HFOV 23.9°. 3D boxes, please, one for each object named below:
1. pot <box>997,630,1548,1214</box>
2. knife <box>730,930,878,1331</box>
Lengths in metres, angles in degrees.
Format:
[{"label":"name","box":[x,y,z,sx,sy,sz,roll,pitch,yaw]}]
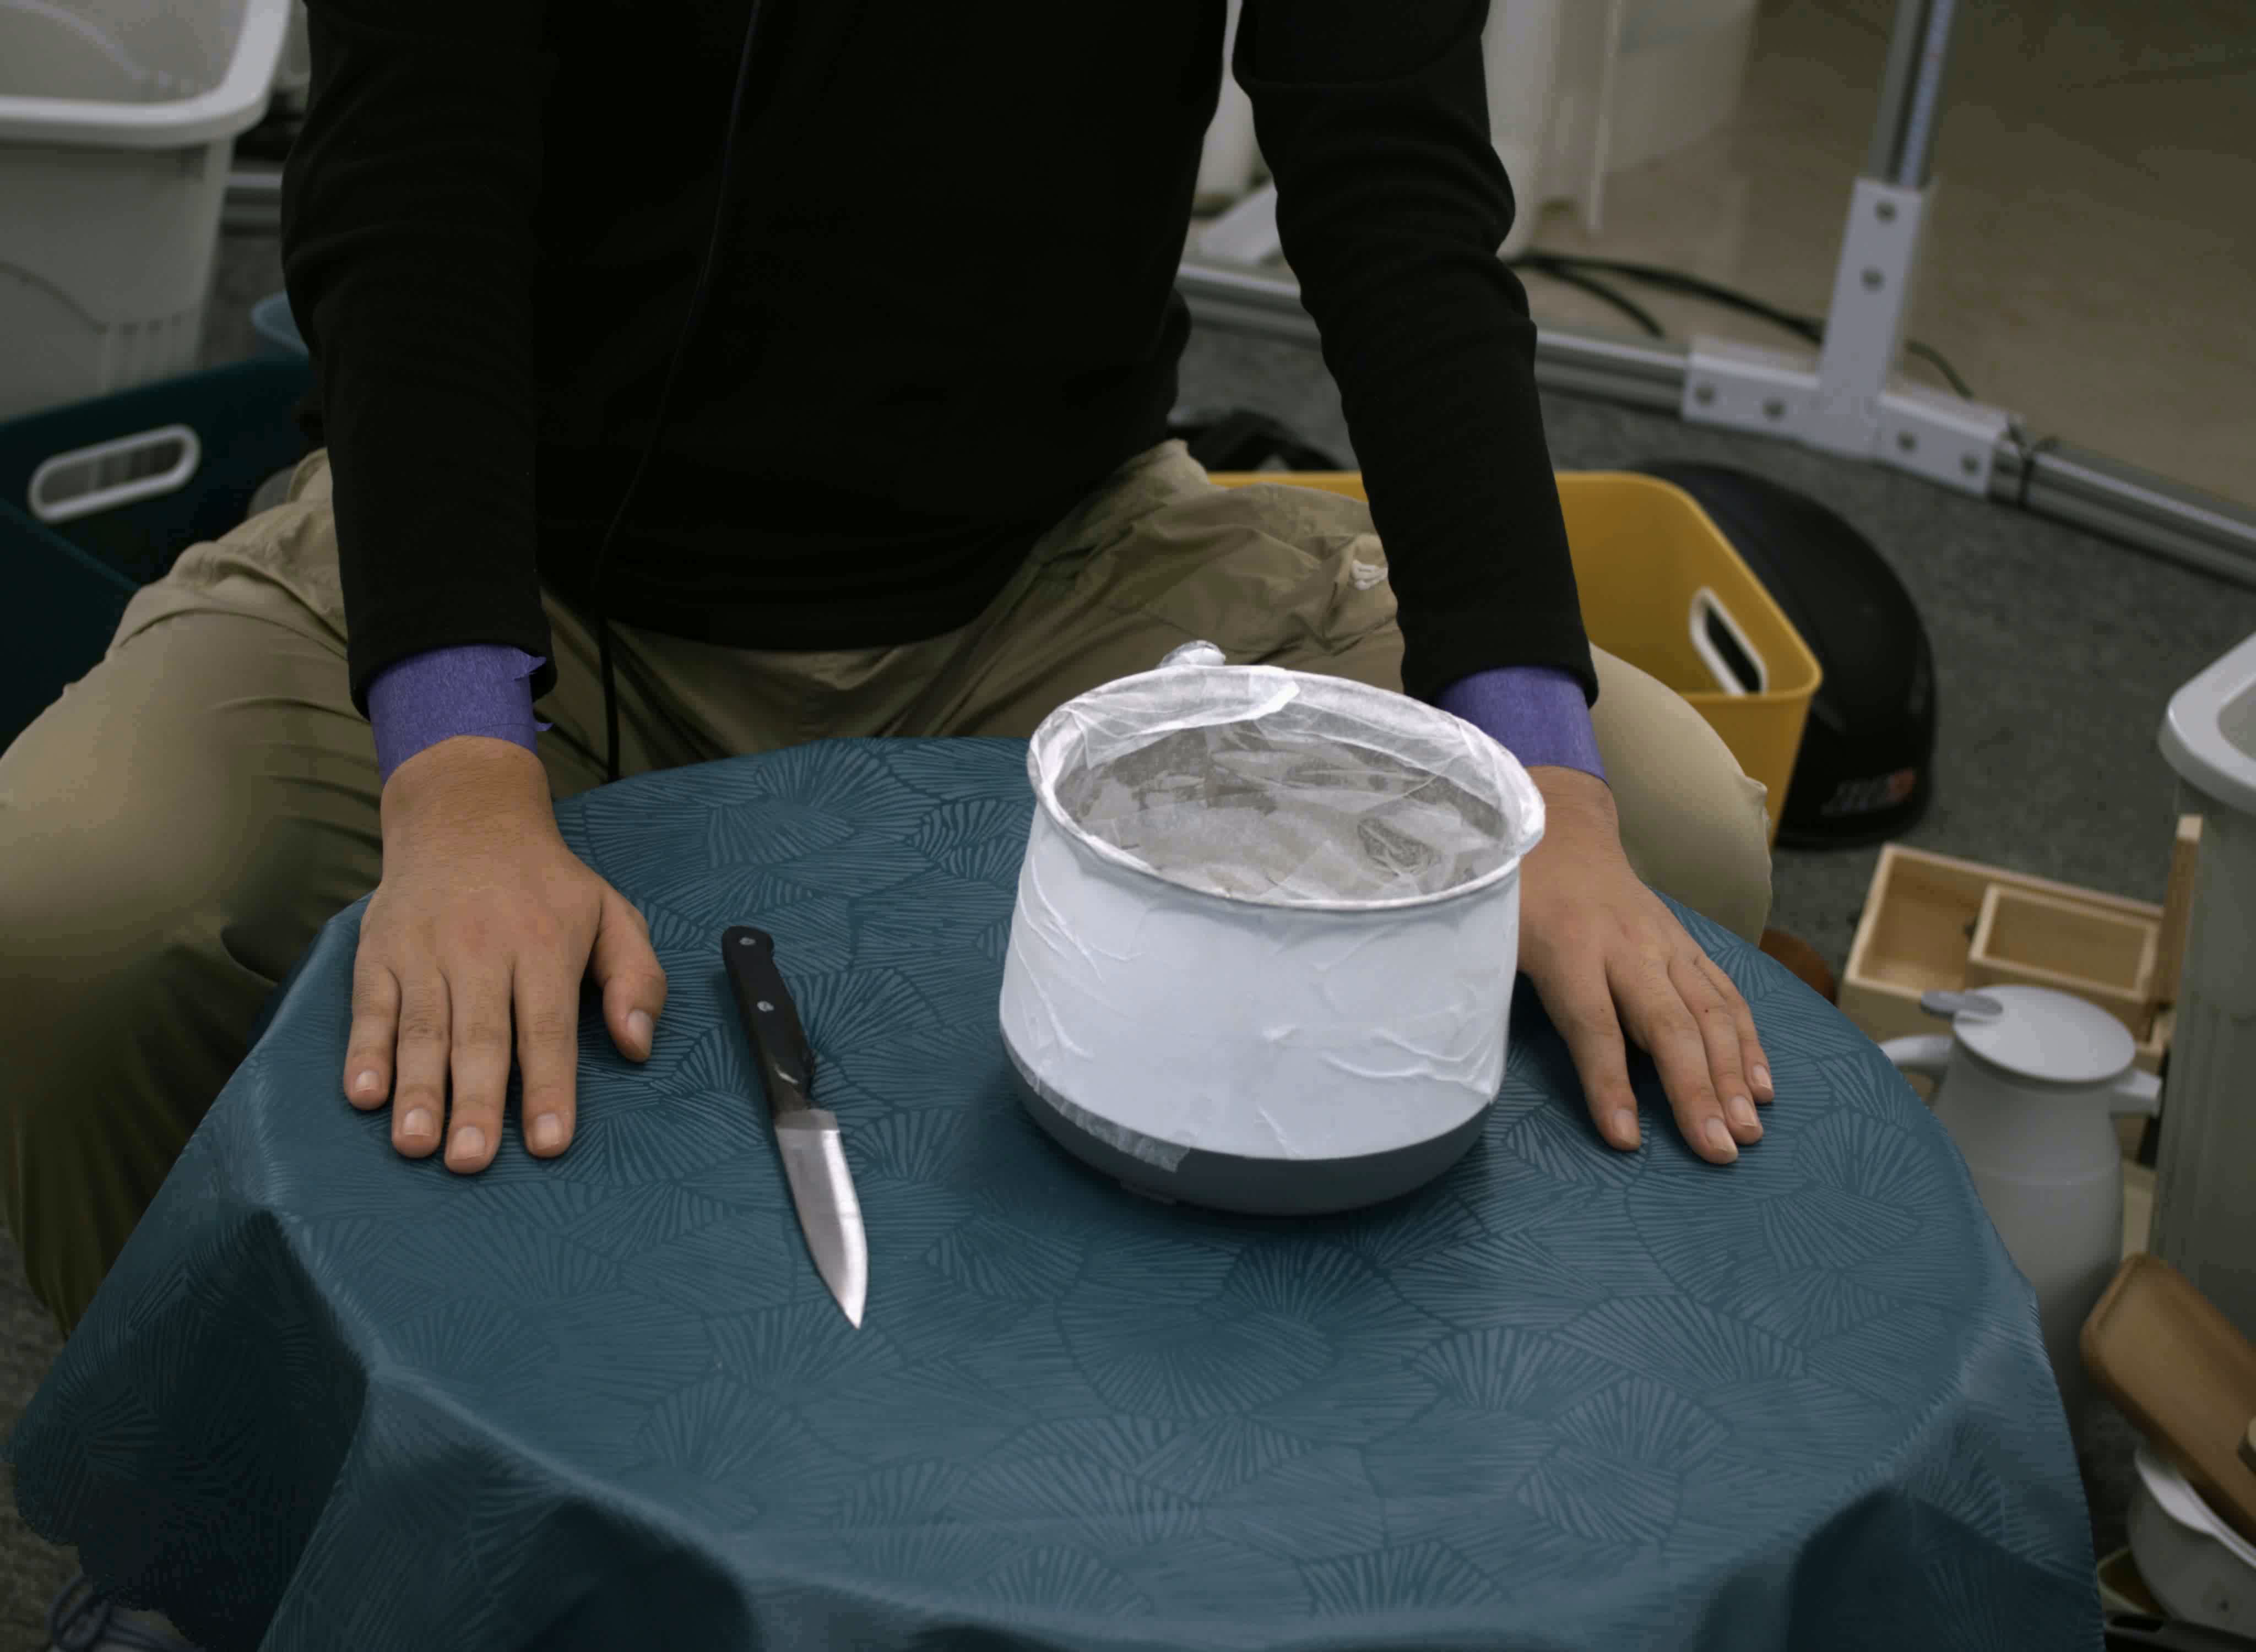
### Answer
[{"label":"pot","box":[0.038,0.026,1.850,0.177,0.136,0.236,-2,29,-19]},{"label":"knife","box":[-0.111,0.102,1.811,0.024,0.016,0.240,-1,30,-14]}]
